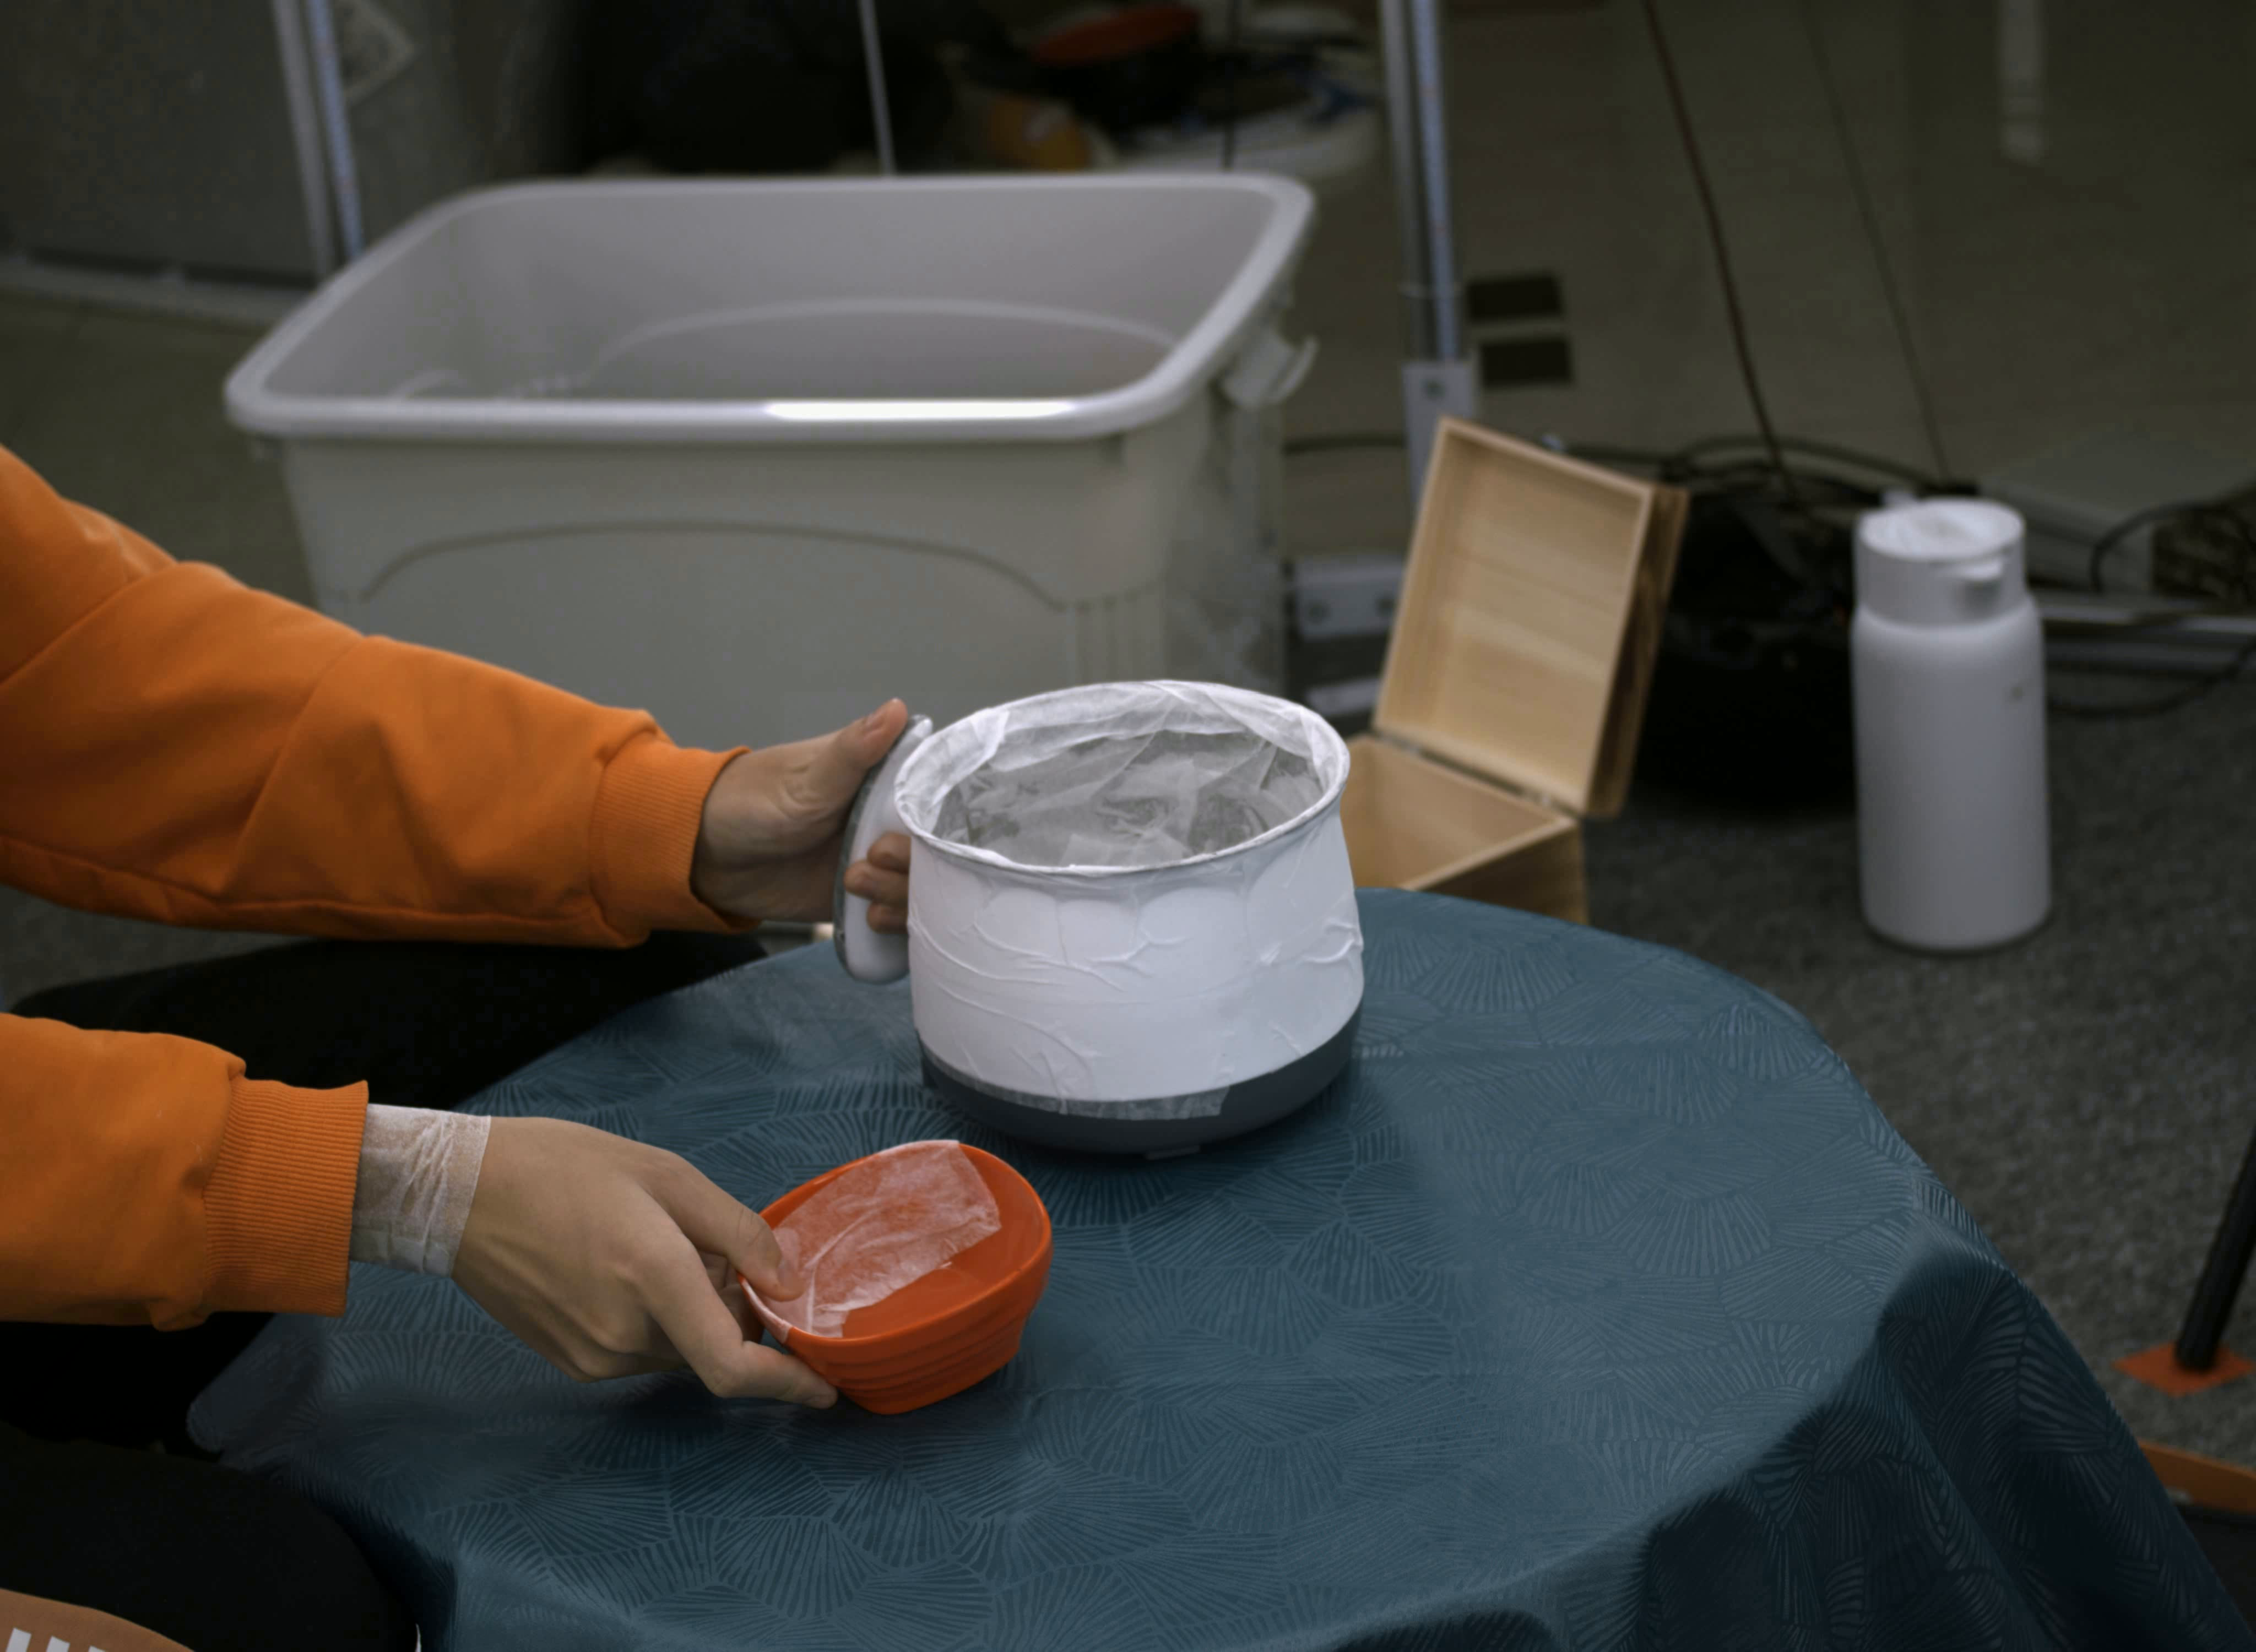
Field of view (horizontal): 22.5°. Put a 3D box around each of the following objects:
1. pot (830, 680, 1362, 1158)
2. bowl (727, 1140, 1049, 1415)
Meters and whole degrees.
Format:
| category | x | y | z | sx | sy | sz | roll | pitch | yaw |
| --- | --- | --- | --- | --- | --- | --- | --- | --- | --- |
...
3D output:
| category | x | y | z | sx | sy | sz | roll | pitch | yaw |
| --- | --- | --- | --- | --- | --- | --- | --- | --- | --- |
| pot | -0.022 | 0.032 | 2.211 | 0.232 | 0.139 | 0.177 | 13 | 30 | 32 |
| bowl | -0.082 | 0.168 | 2.034 | 0.119 | 0.052 | 0.117 | -9 | 33 | 6 |
